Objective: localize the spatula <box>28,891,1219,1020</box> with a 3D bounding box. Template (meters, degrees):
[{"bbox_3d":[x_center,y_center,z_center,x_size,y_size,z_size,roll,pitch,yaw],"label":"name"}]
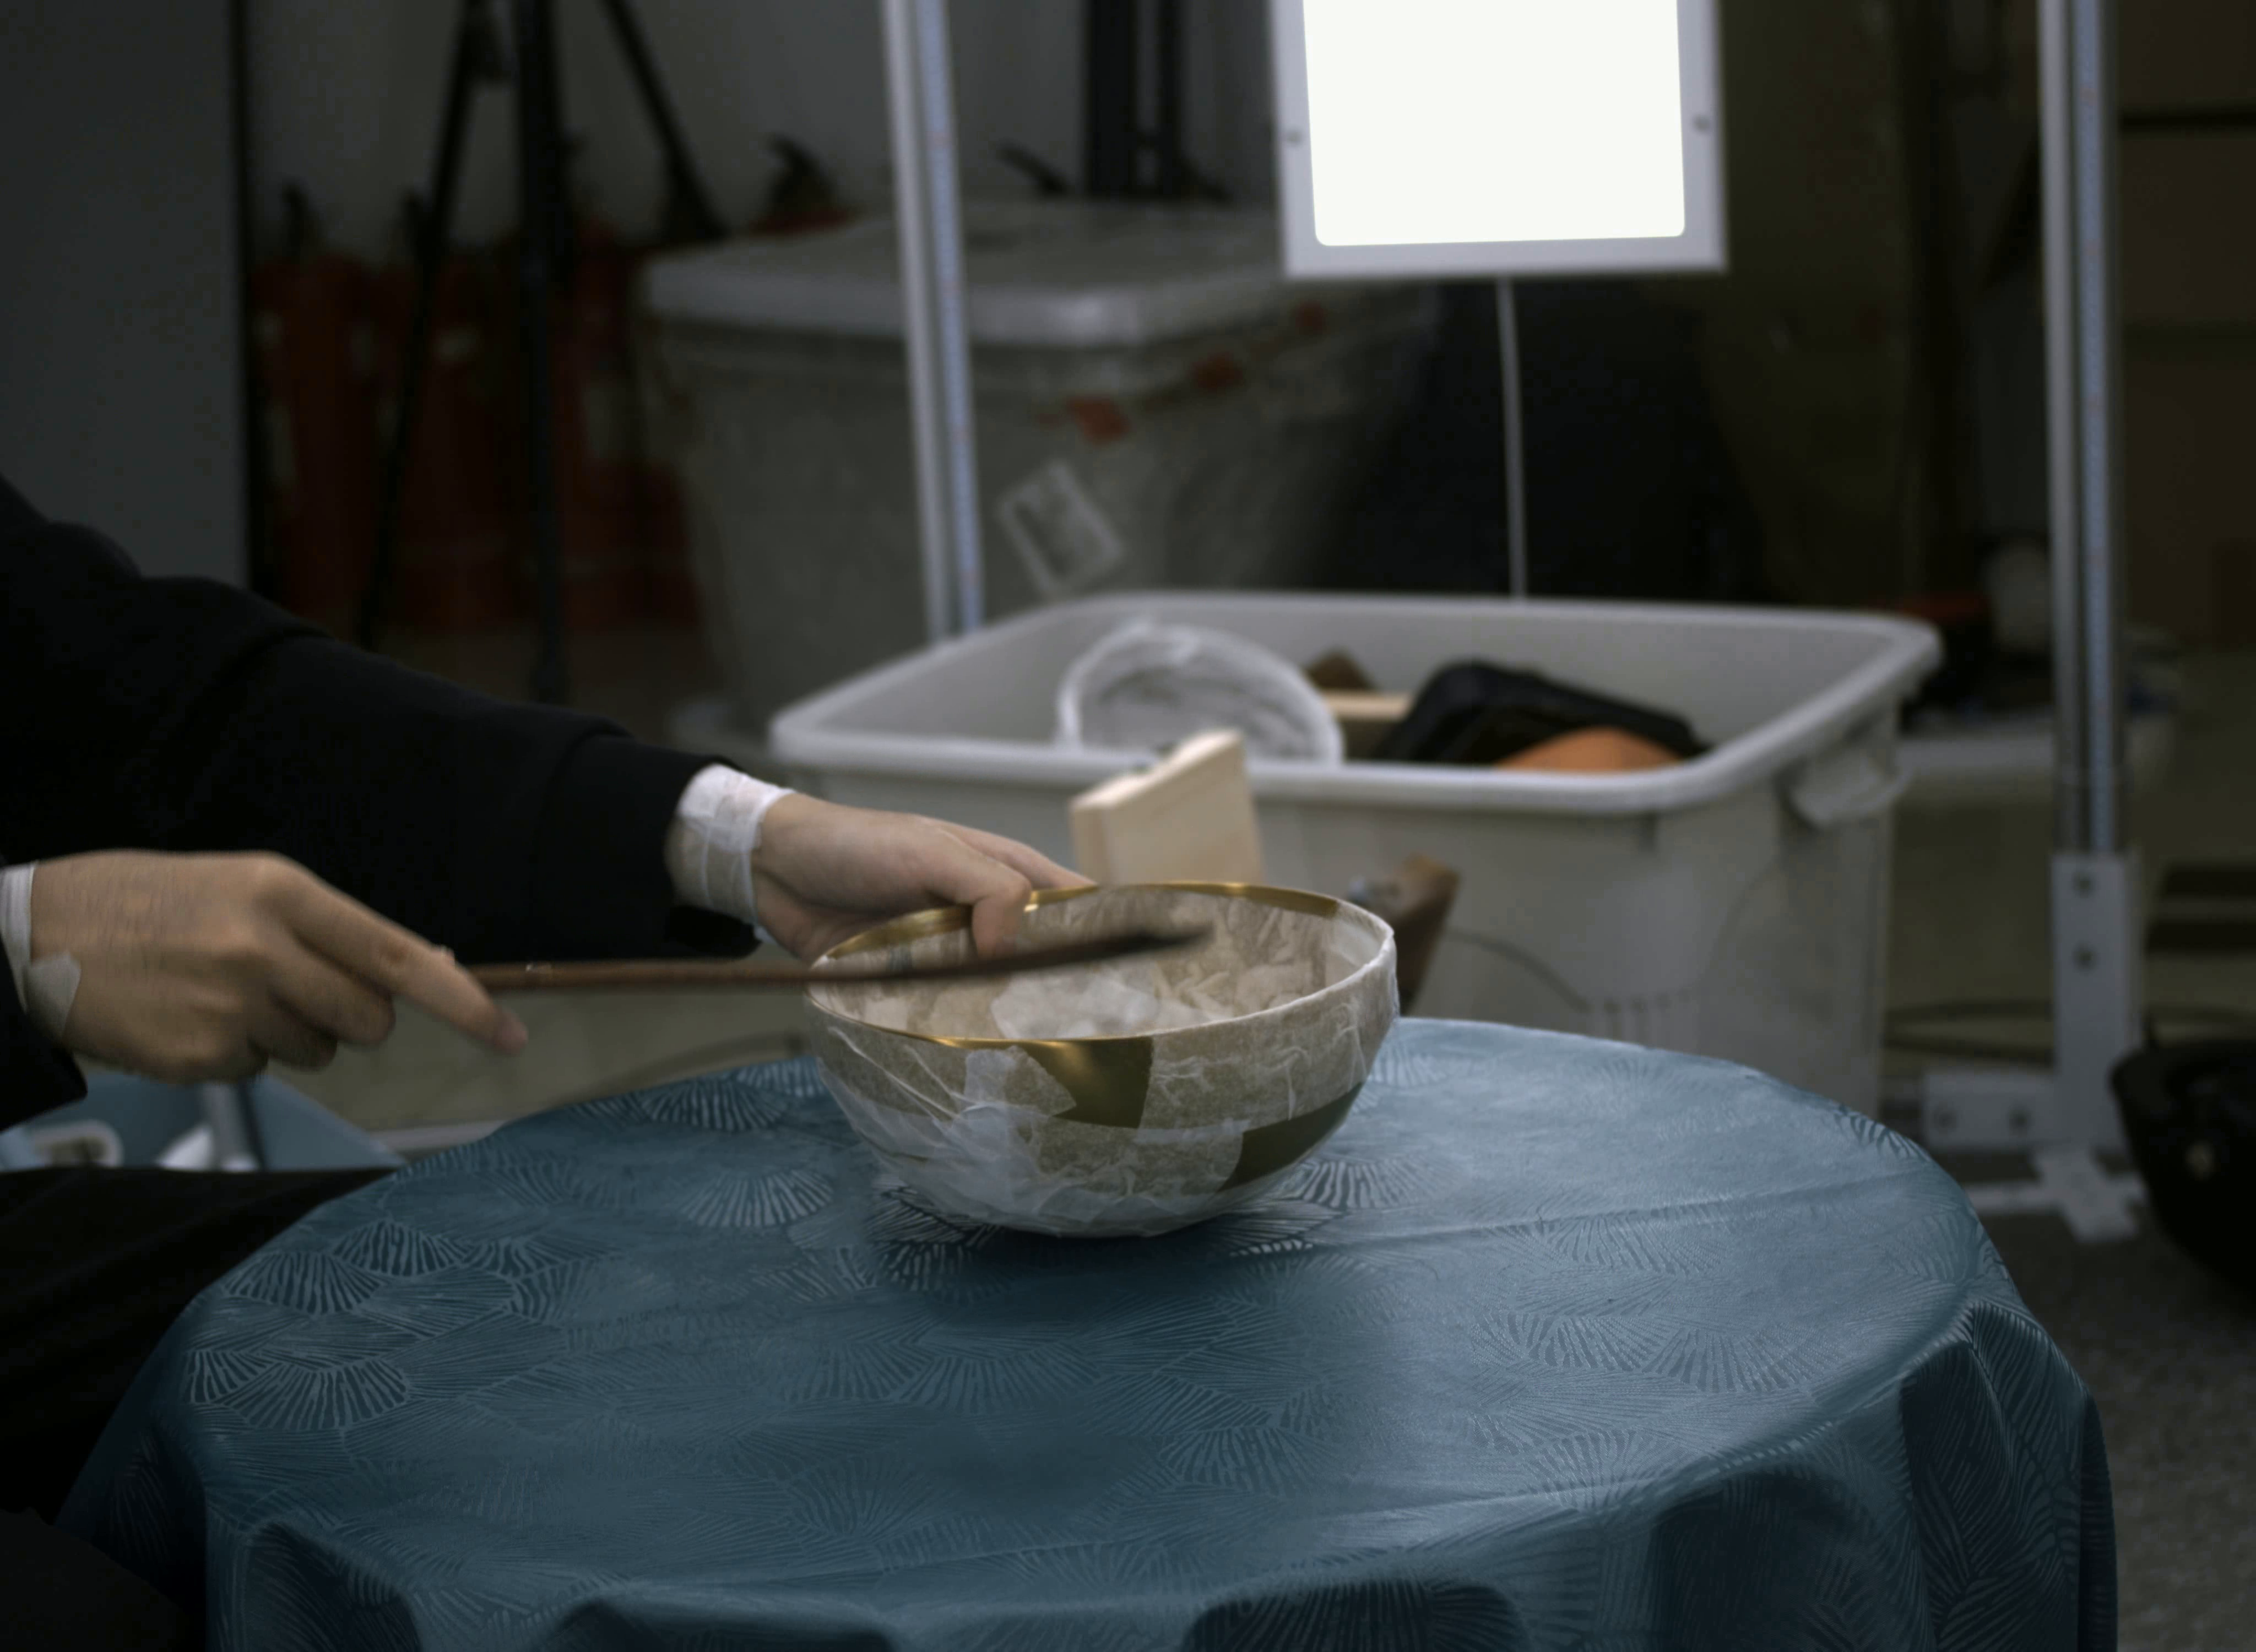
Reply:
[{"bbox_3d":[-0.161,0.041,1.704,0.390,0.016,0.095,-4,-4,16],"label":"spatula"}]

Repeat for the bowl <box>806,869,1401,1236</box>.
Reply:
[{"bbox_3d":[-0.008,0.084,1.872,0.214,0.095,0.214,-6,14,0],"label":"bowl"}]
